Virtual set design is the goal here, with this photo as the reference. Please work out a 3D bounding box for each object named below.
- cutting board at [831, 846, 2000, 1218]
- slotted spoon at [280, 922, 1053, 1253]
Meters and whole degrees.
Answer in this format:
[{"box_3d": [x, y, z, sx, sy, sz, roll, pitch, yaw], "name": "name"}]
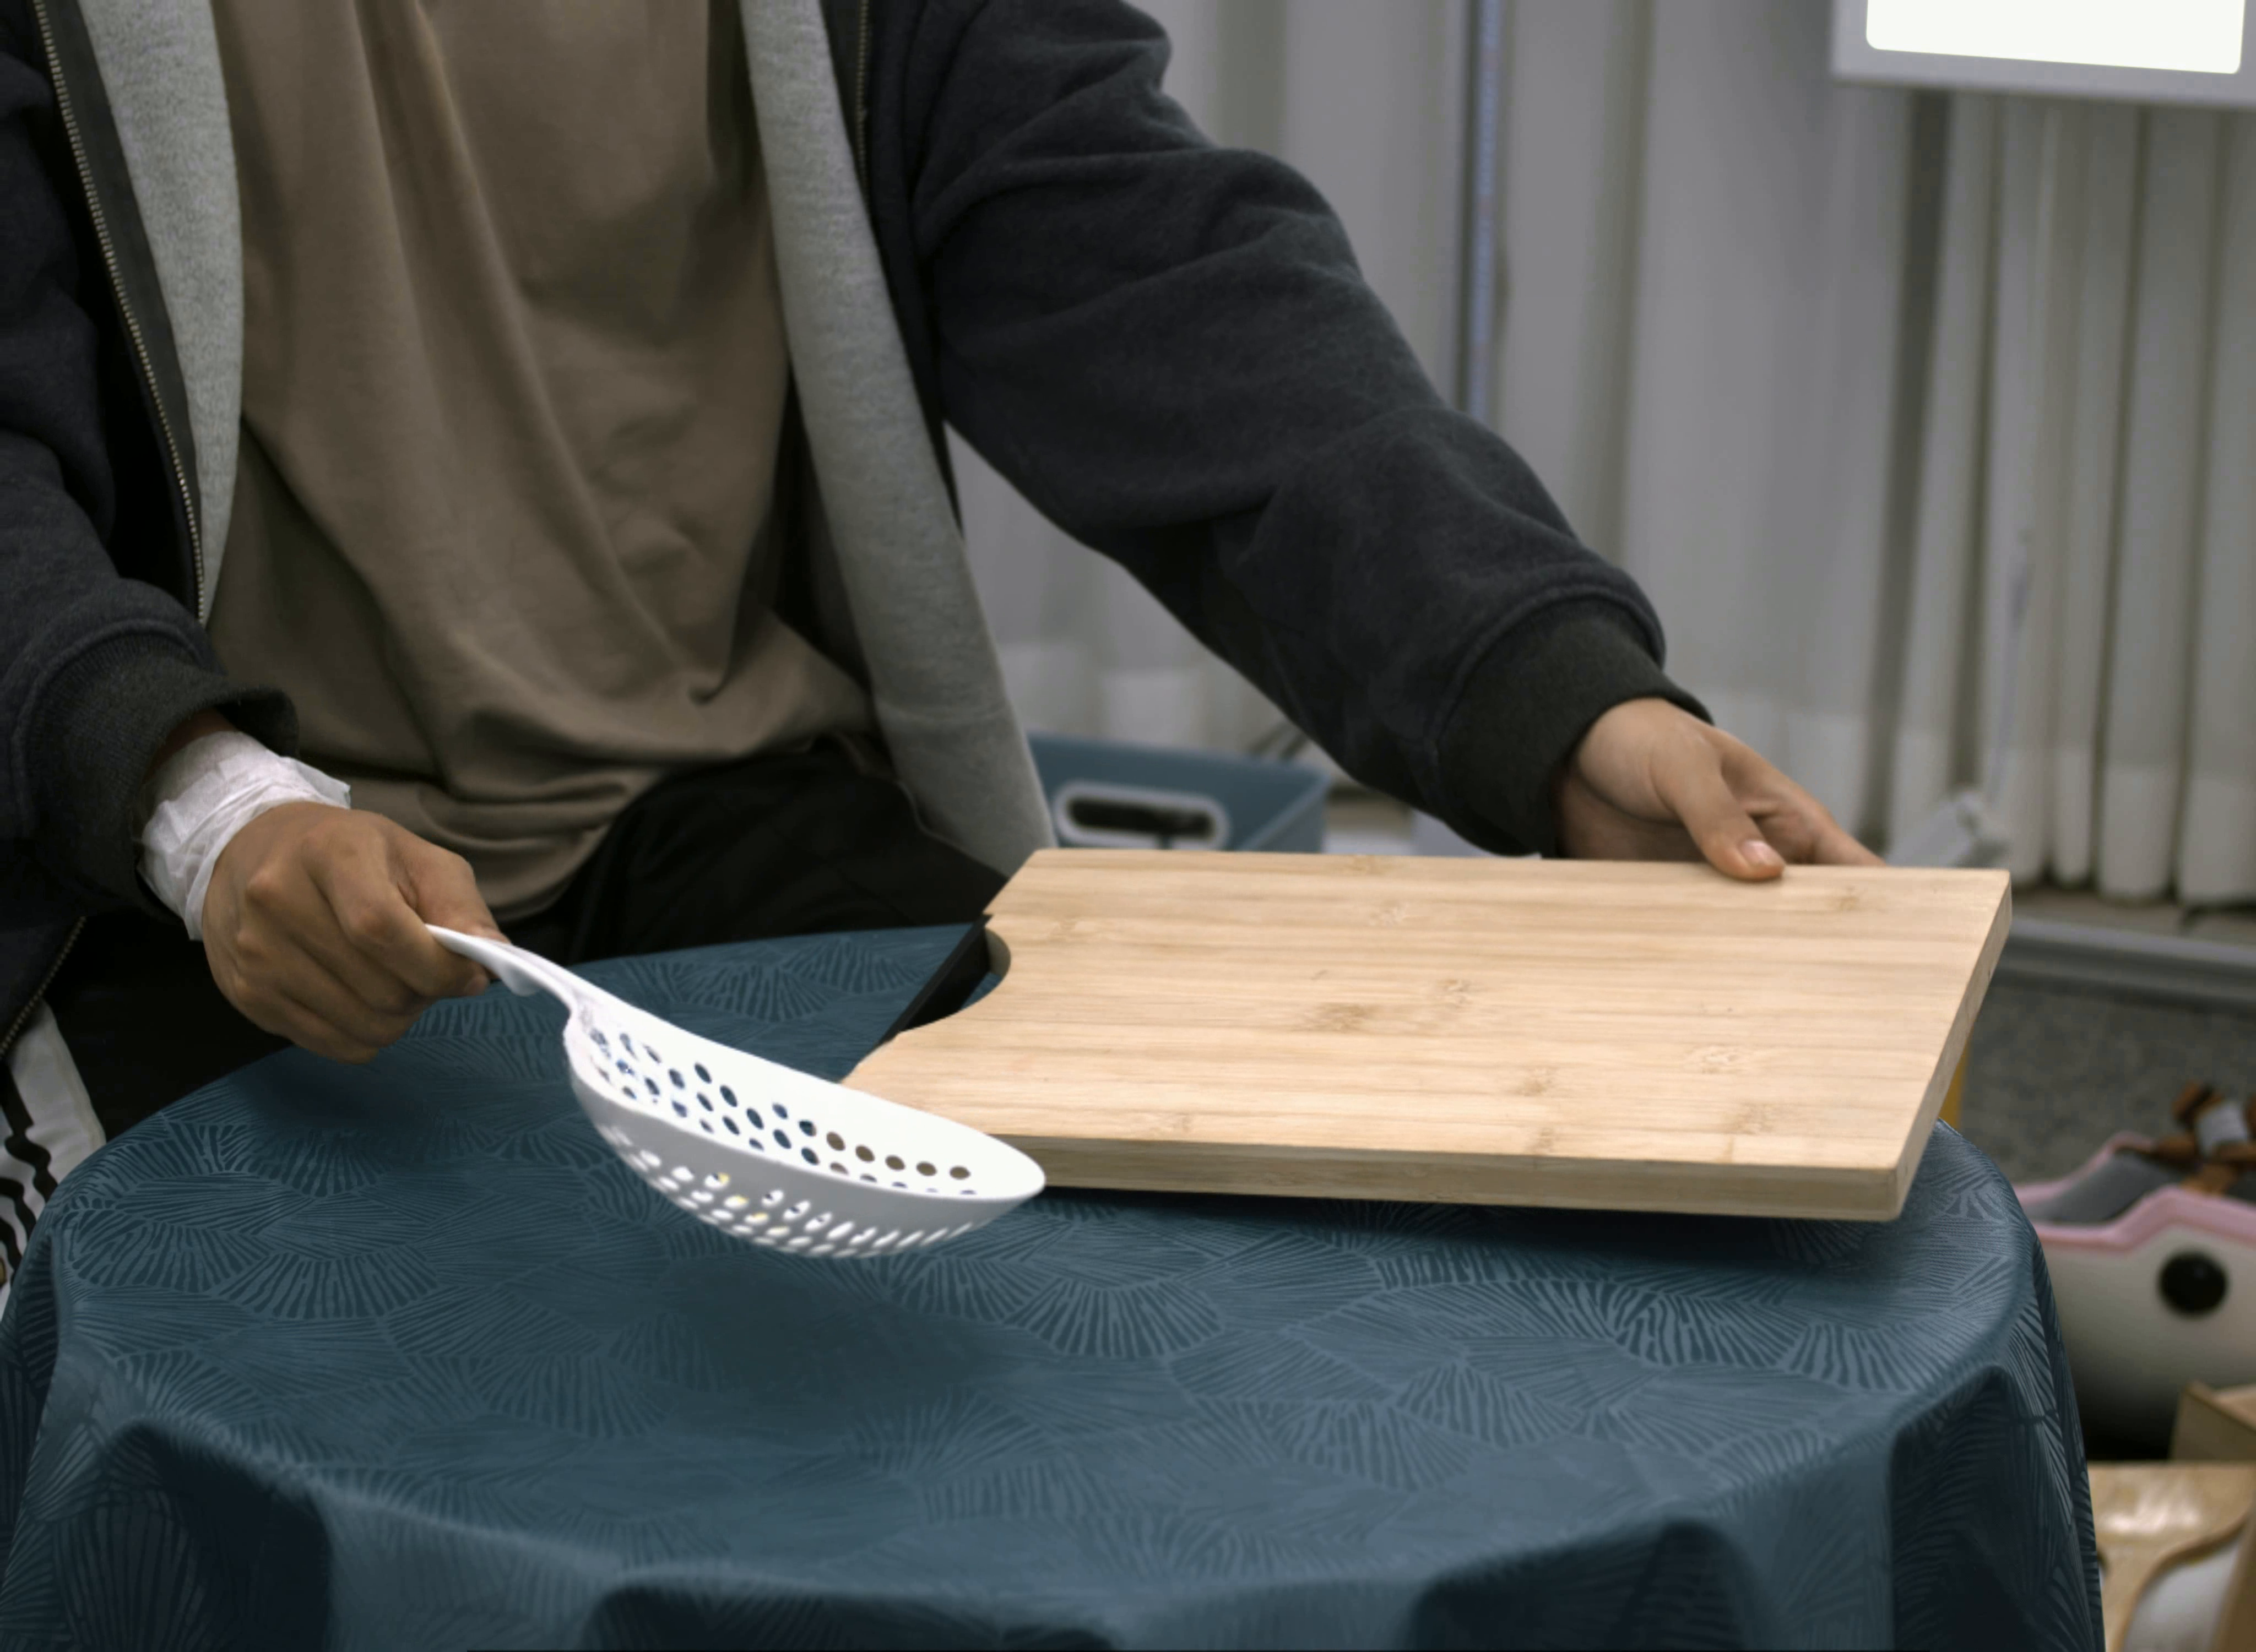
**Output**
[{"box_3d": [0.092, 0.062, 1.691, 0.346, 0.024, 0.250, 1, 21, 16], "name": "cutting board"}, {"box_3d": [-0.156, 0.065, 1.559, 0.138, 0.050, 0.343, 8, 12, -39], "name": "slotted spoon"}]
